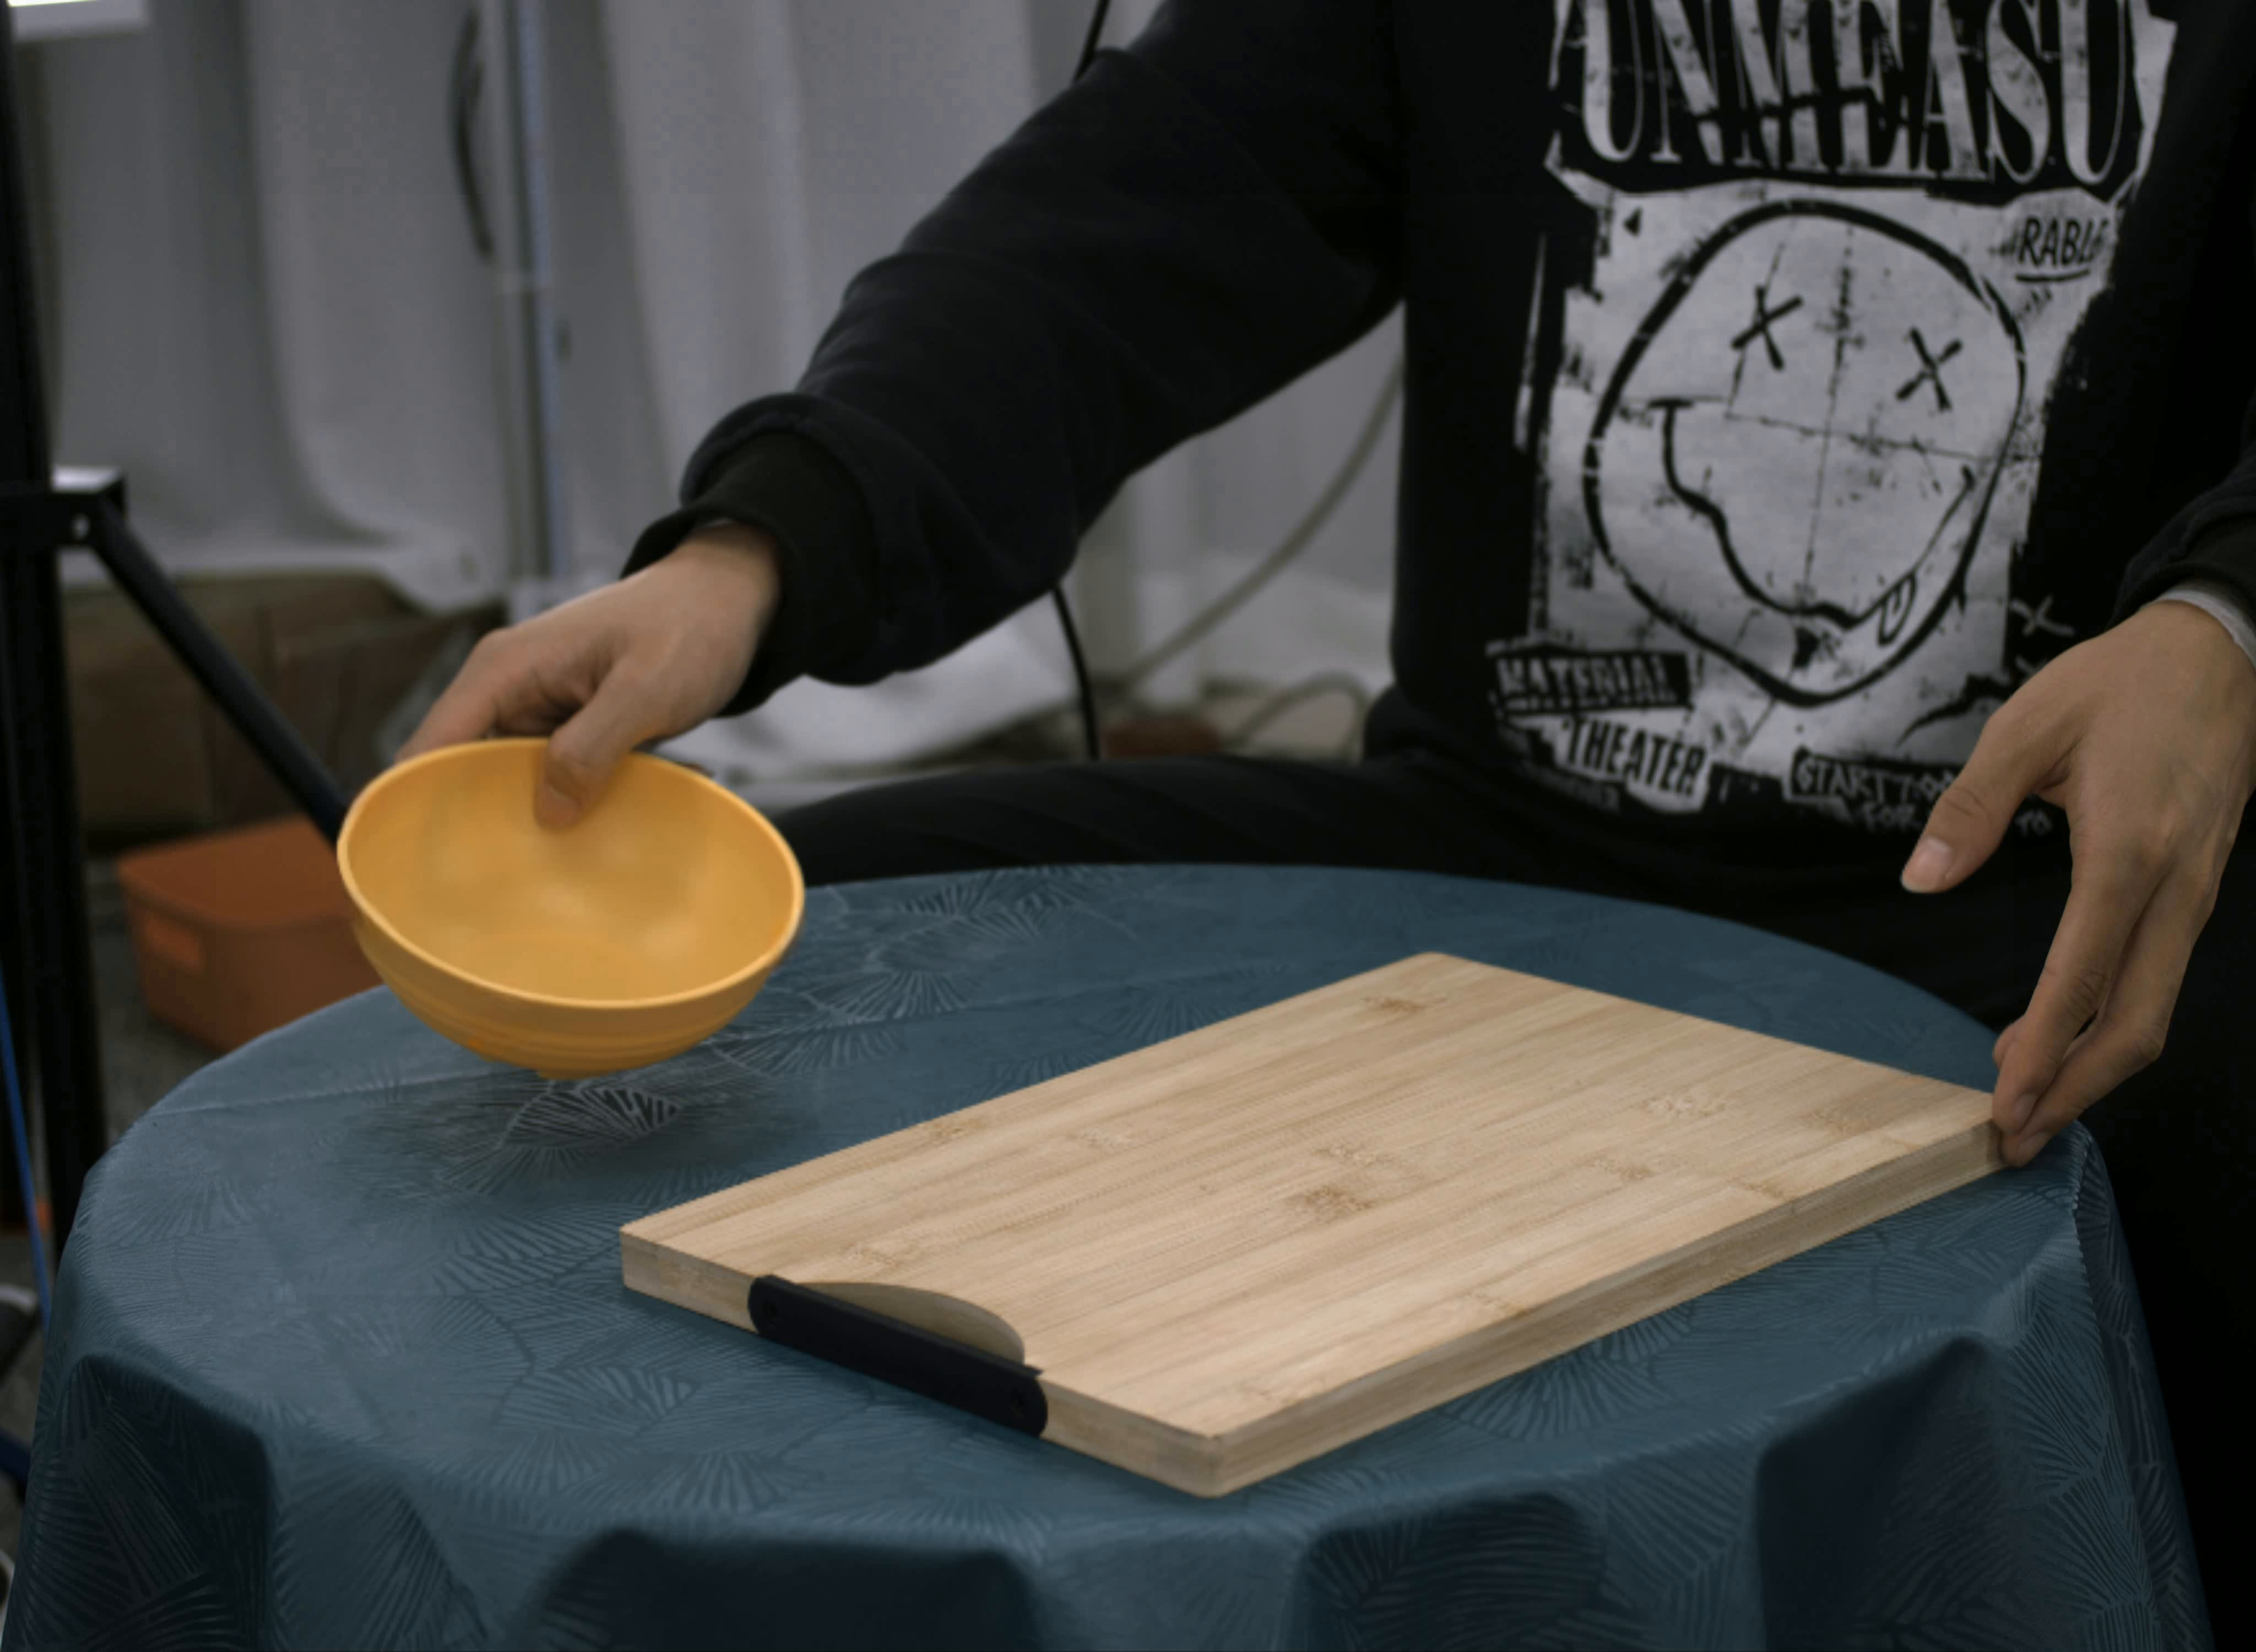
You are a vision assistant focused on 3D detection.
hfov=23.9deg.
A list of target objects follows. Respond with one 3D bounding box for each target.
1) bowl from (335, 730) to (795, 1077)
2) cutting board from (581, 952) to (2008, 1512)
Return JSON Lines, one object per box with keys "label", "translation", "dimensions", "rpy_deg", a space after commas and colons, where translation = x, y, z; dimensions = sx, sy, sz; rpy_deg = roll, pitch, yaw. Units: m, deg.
{"label": "bowl", "translation": [-0.180, 0.035, 1.662], "dimensions": [0.143, 0.060, 0.147], "rpy_deg": [11, 33, -8]}
{"label": "cutting board", "translation": [0.054, 0.108, 1.521], "dimensions": [0.341, 0.023, 0.256], "rpy_deg": [-17, 21, -41]}
